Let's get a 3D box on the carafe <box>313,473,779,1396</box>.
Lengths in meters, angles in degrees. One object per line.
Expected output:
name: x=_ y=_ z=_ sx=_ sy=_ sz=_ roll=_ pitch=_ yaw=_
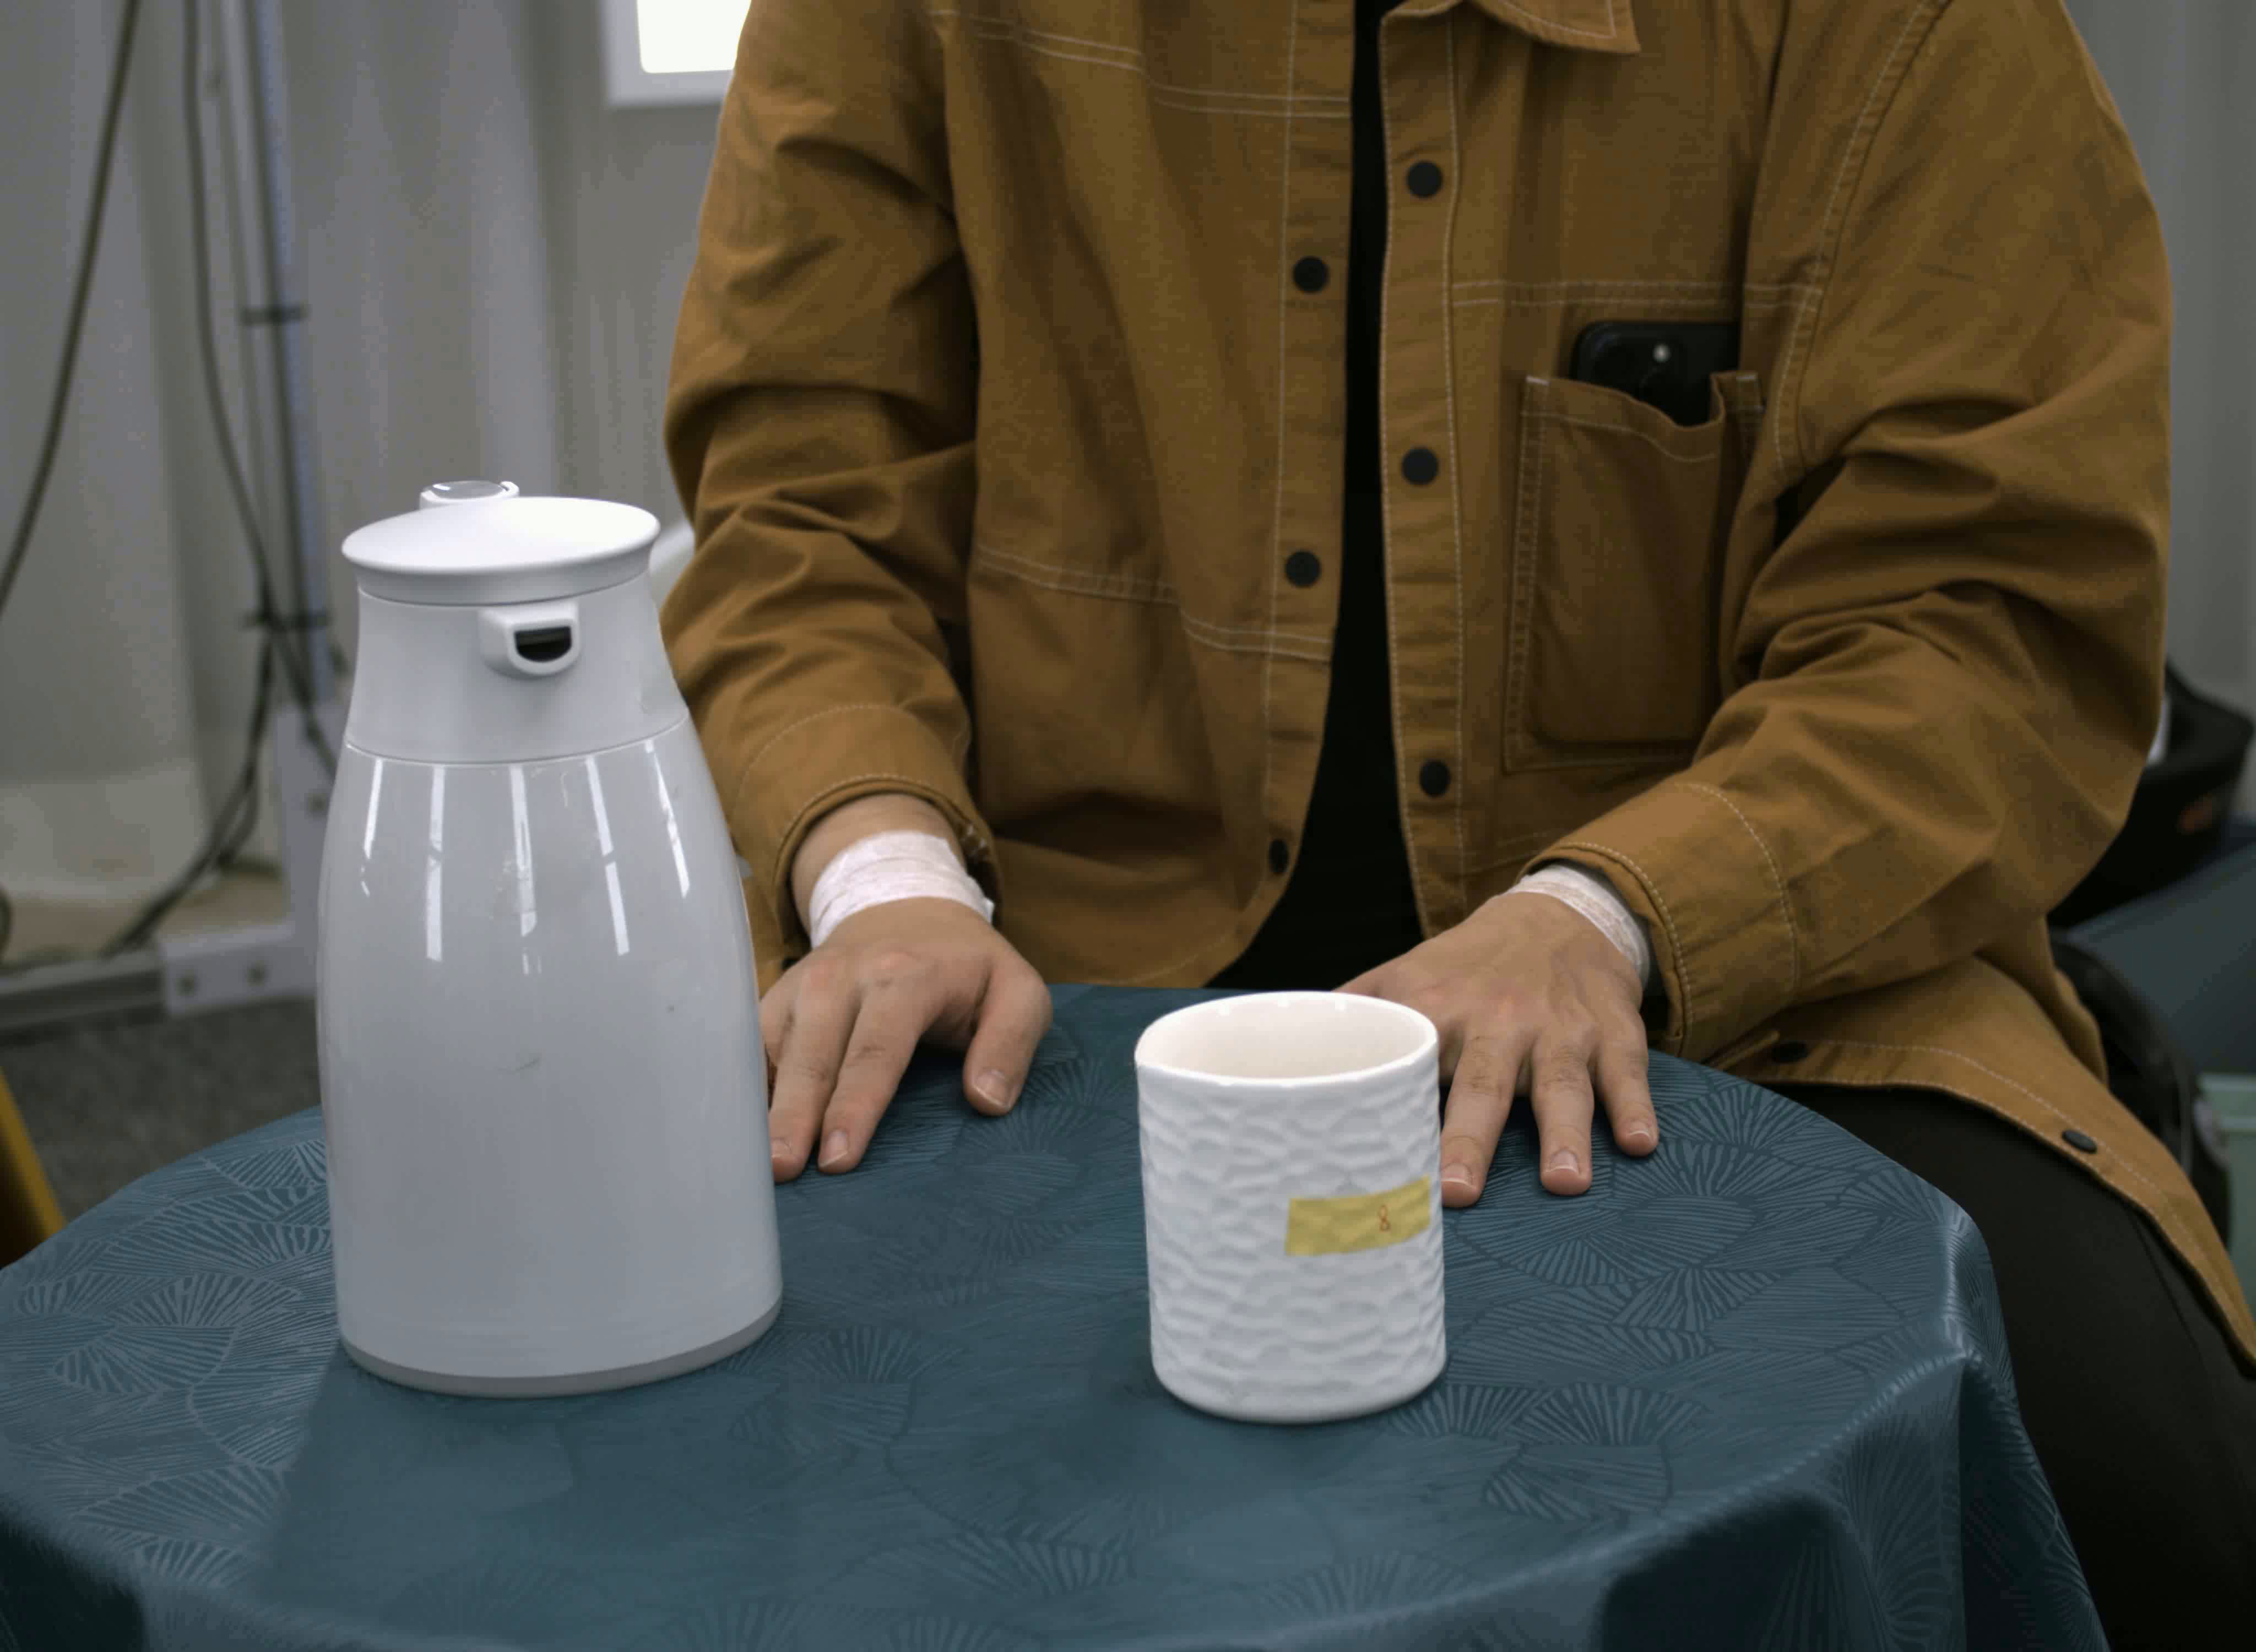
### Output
carafe: x=-0.181 y=0.023 z=1.613 sx=0.132 sy=0.248 sz=0.169 roll=-7 pitch=14 yaw=-16

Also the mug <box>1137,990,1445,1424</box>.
mug: x=0.044 y=0.103 z=1.551 sx=0.084 sy=0.101 sz=0.119 roll=-4 pitch=14 yaw=-9
